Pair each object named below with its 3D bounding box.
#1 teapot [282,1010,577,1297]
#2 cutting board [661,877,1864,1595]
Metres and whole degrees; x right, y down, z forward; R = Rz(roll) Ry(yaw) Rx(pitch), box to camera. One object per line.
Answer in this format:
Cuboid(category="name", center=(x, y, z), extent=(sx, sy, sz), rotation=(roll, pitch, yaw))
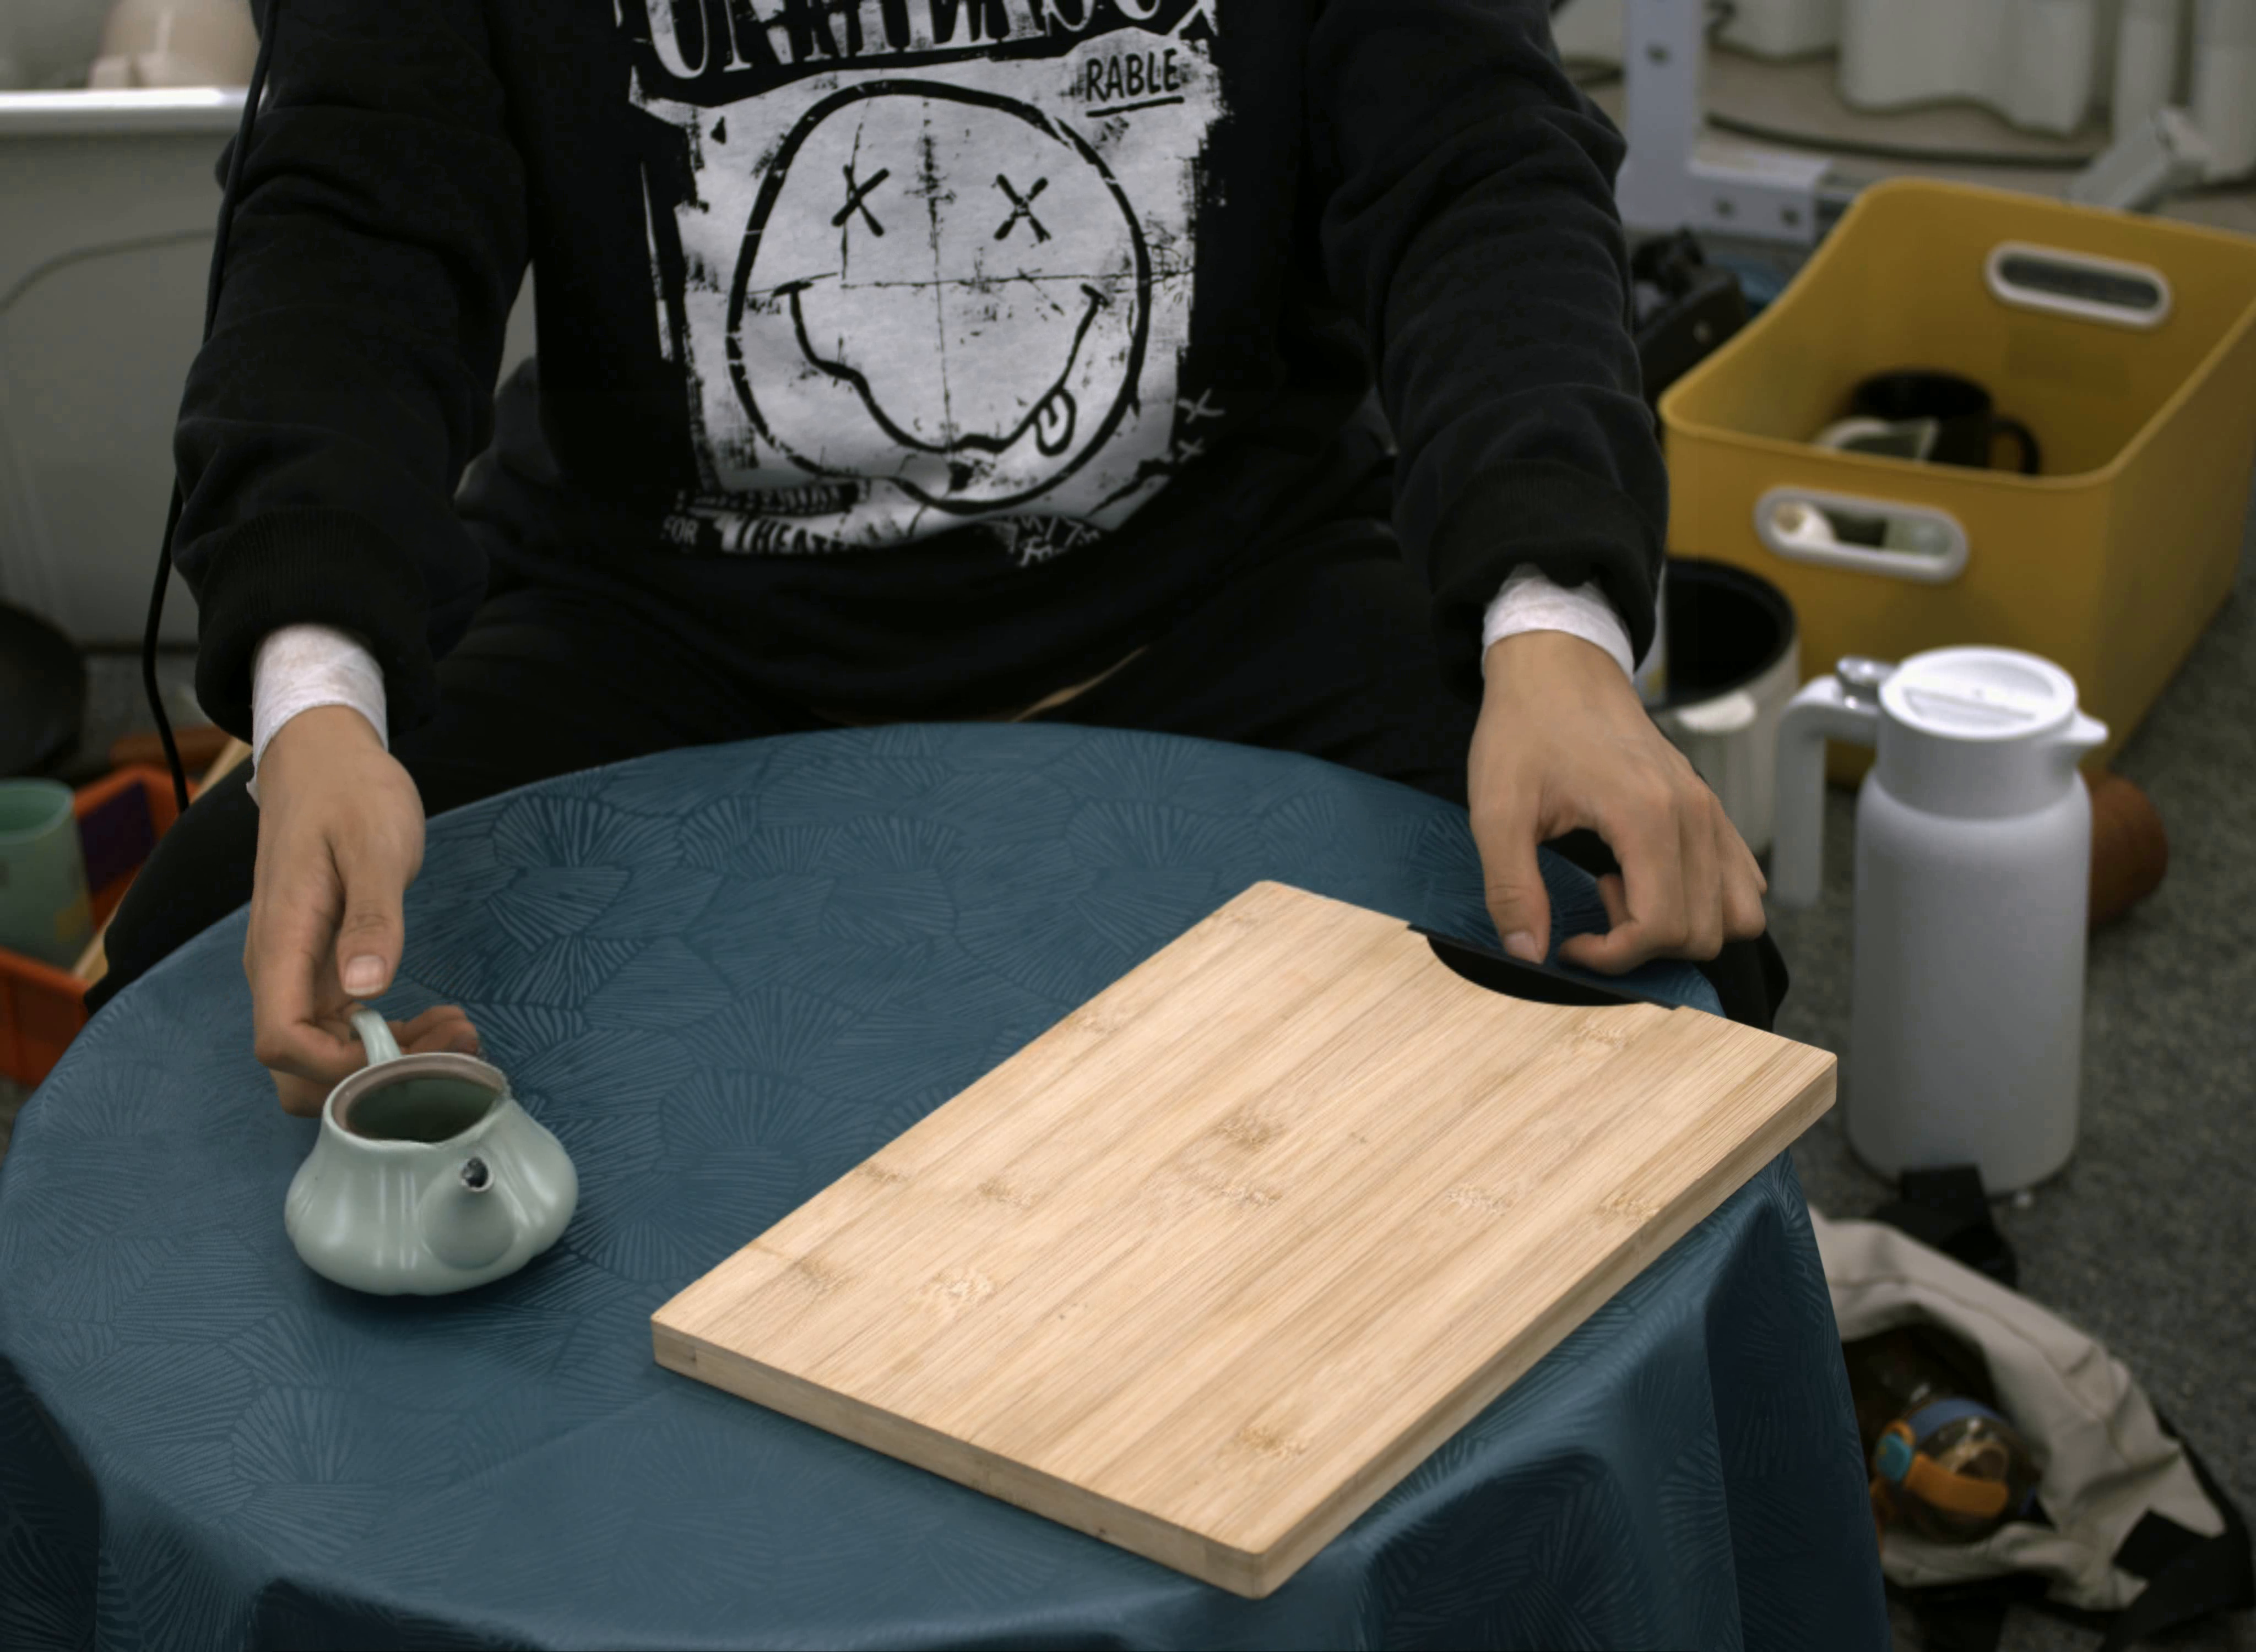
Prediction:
Cuboid(category="teapot", center=(-0.231, 0.111, 1.838), extent=(0.096, 0.061, 0.138), rotation=(-16, 30, -22))
Cuboid(category="cutting board", center=(0.047, 0.123, 1.835), extent=(0.249, 0.023, 0.354), rotation=(16, 33, 32))
